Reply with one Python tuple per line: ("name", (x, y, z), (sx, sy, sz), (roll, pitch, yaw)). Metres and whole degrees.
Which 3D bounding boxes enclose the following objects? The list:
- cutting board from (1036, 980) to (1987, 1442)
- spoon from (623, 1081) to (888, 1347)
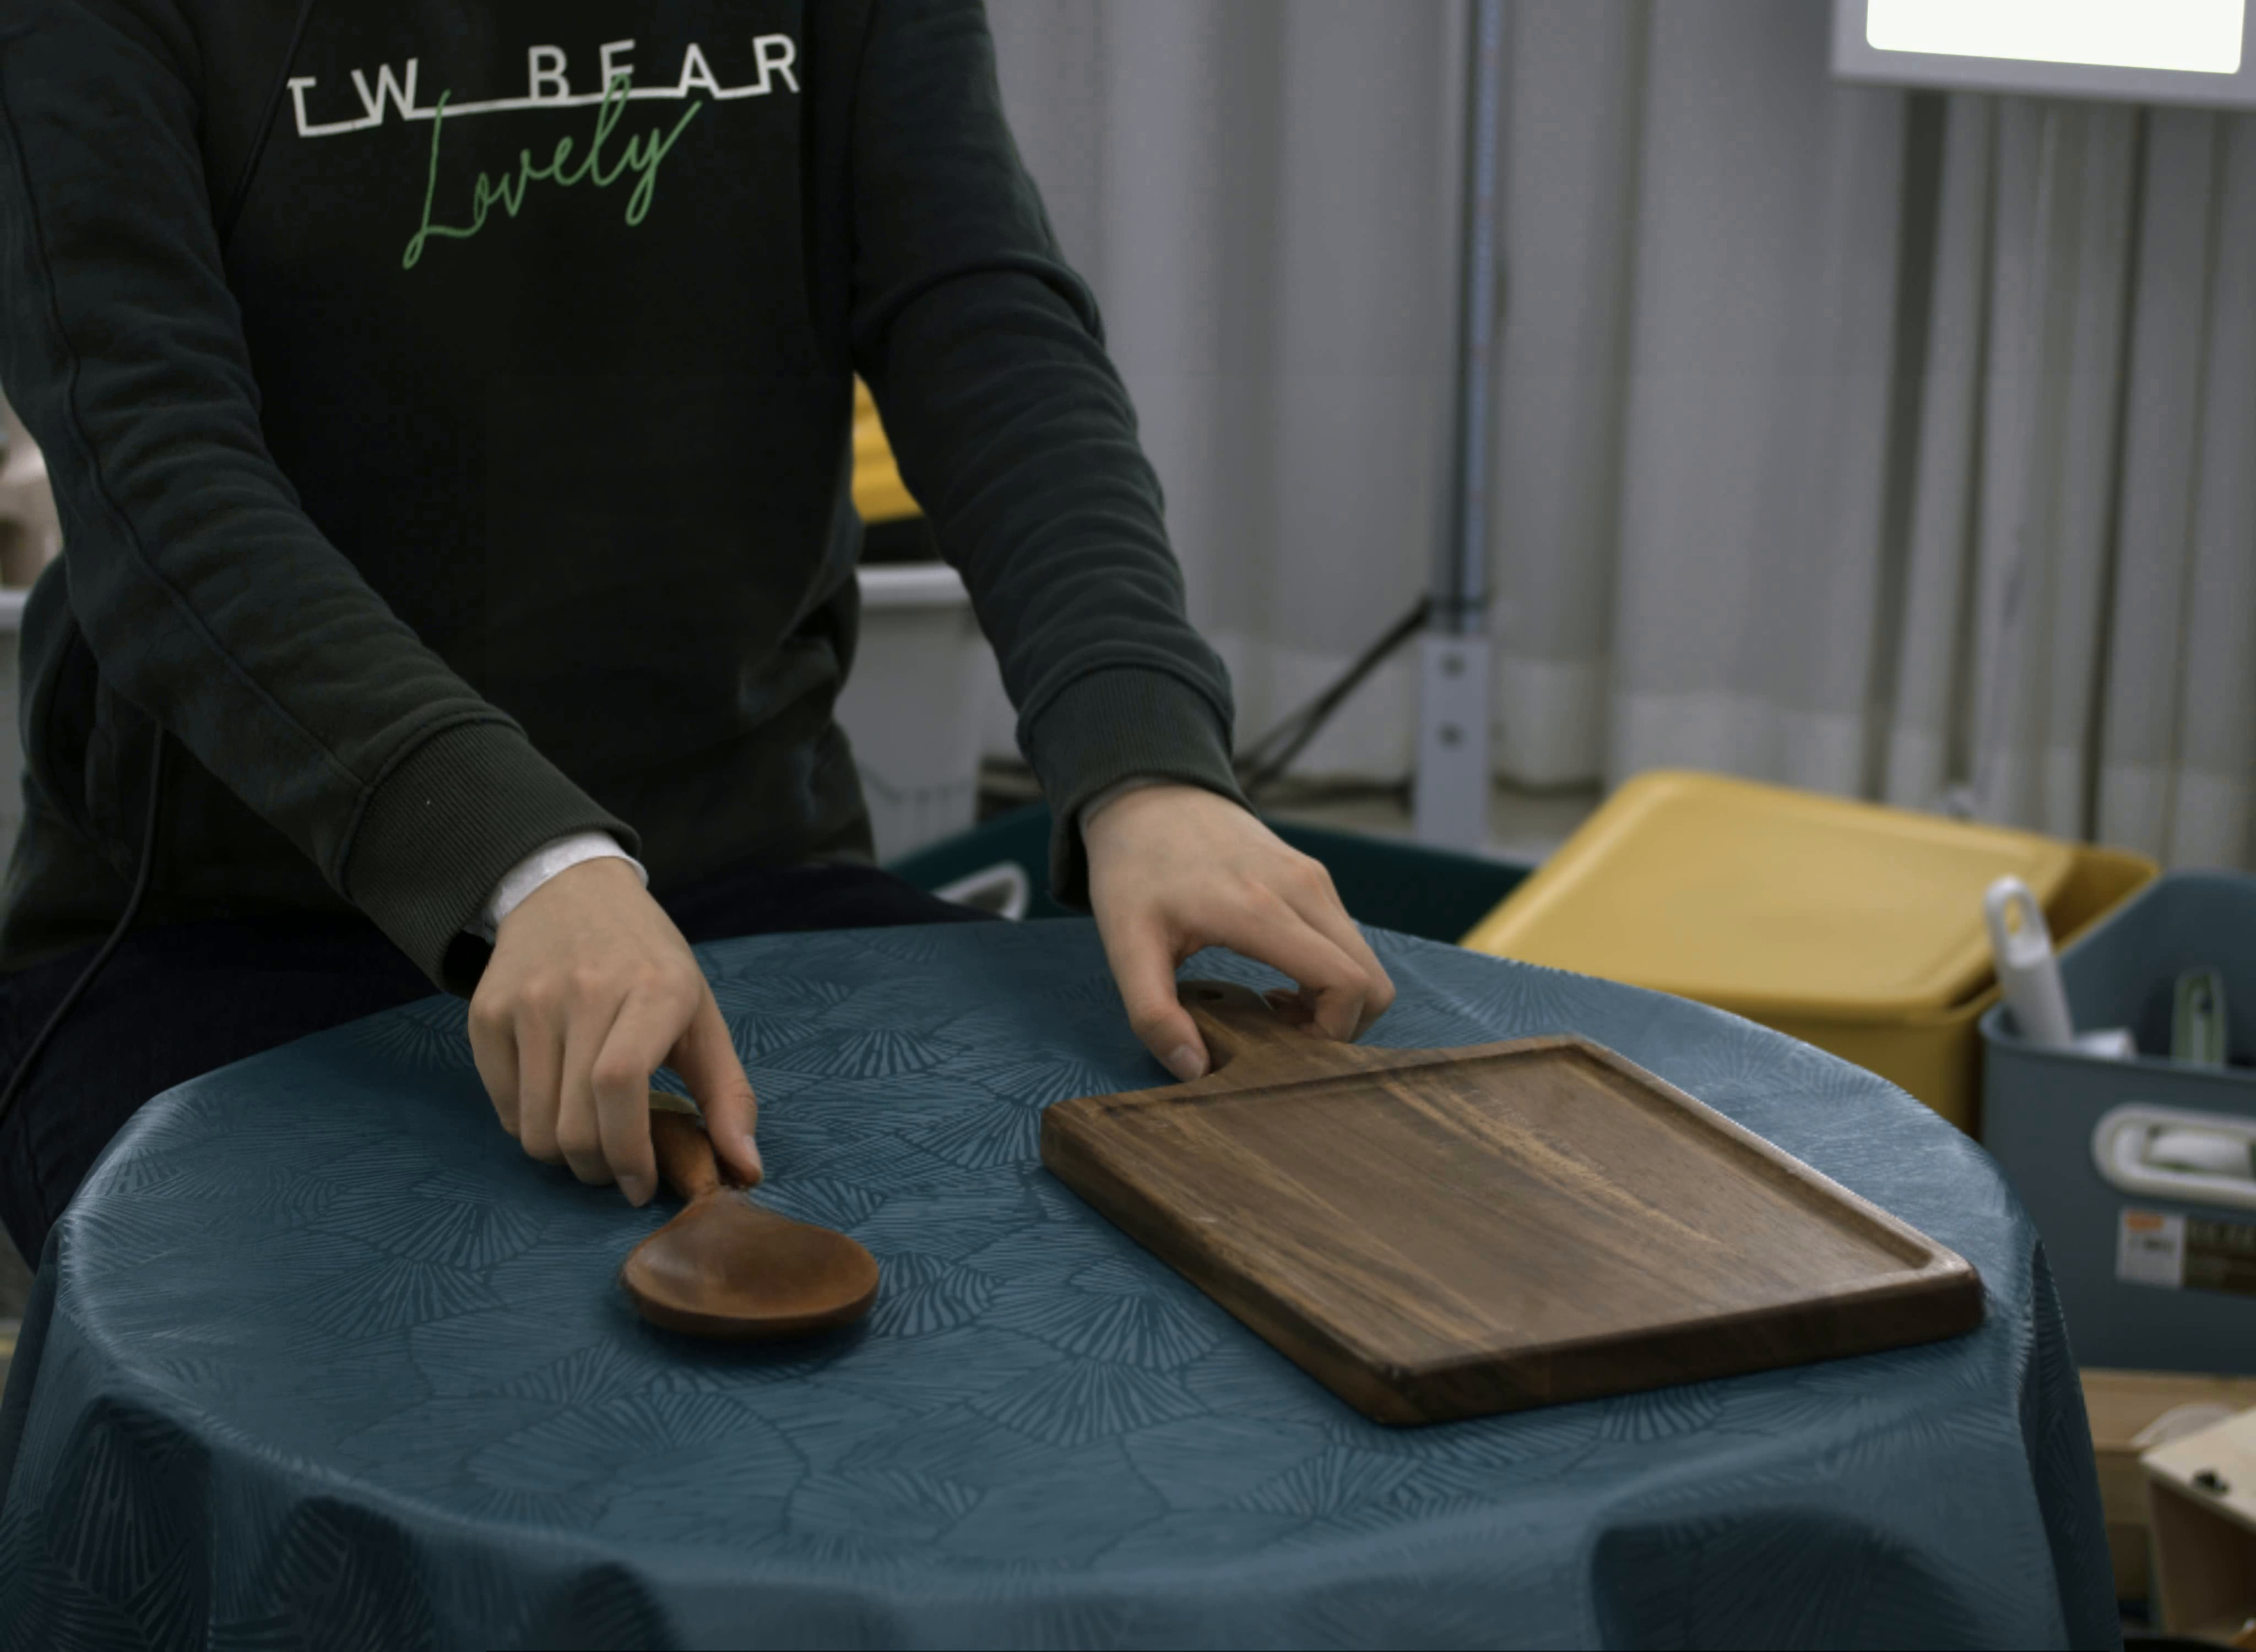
("cutting board", (0.089, 0.105, 1.623), (0.202, 0.023, 0.348), (-7, 18, -23))
("spoon", (-0.123, 0.117, 1.575), (0.075, 0.017, 0.213), (-5, 17, -14))
